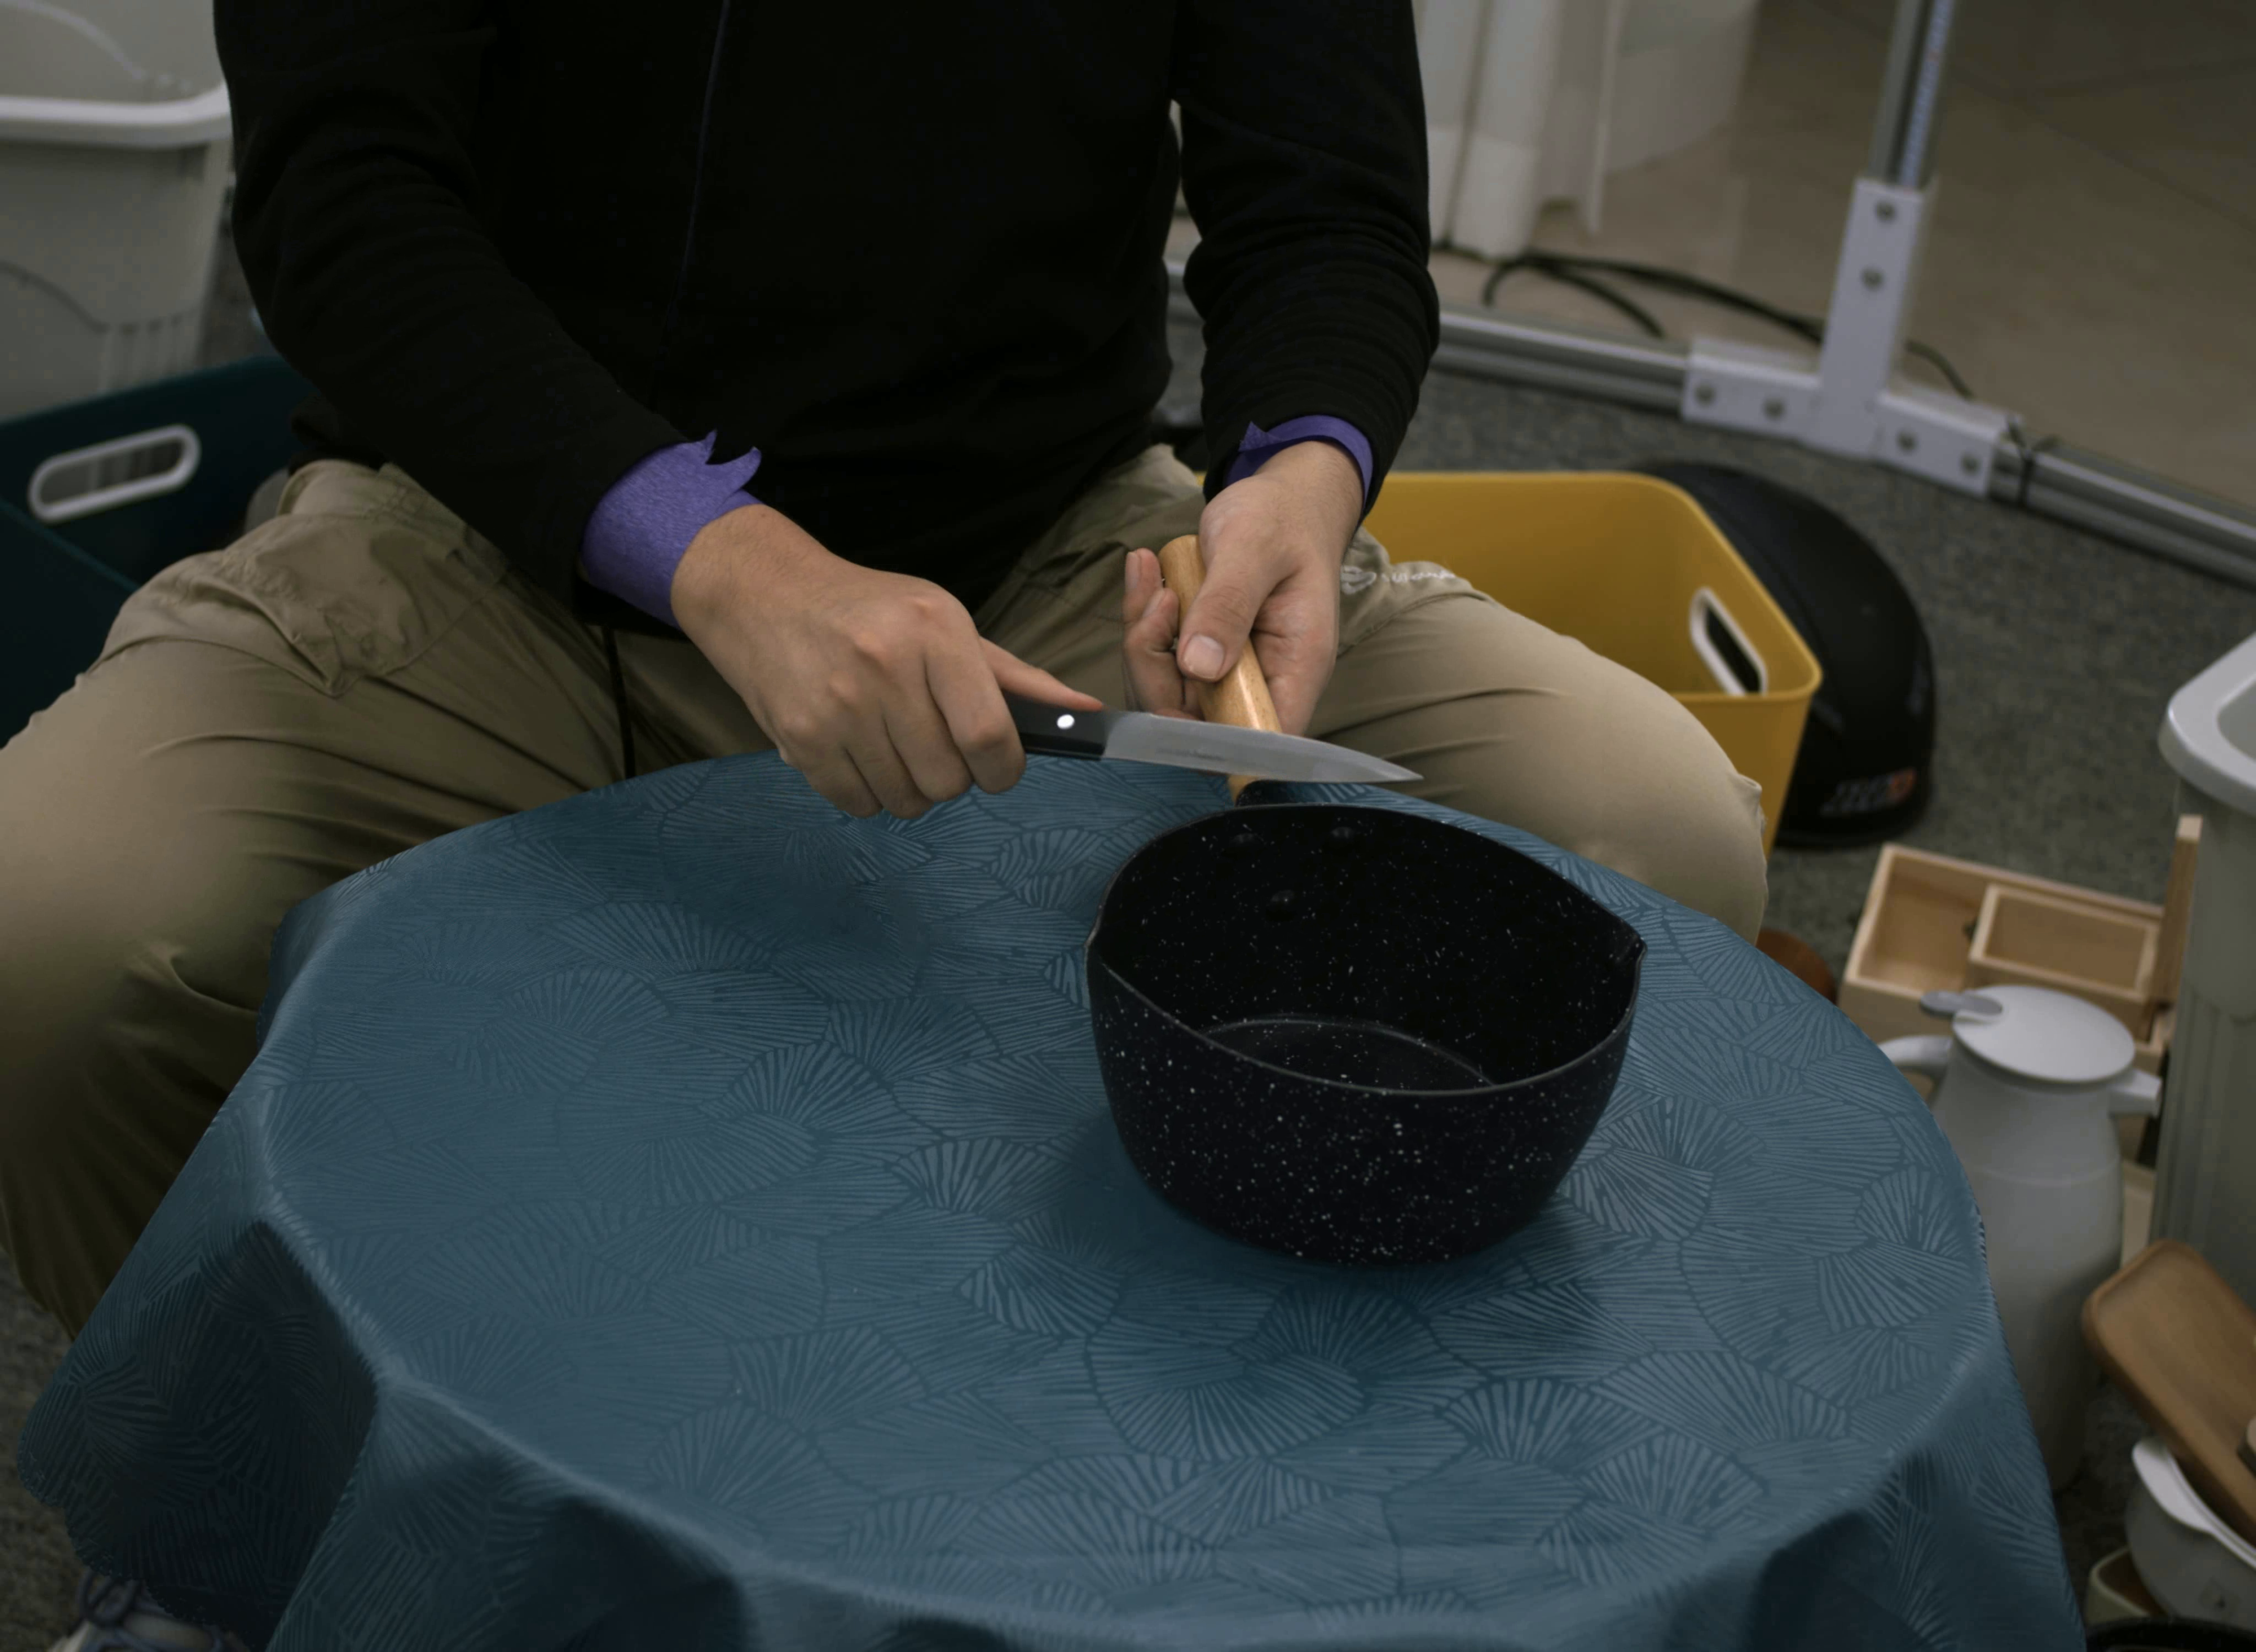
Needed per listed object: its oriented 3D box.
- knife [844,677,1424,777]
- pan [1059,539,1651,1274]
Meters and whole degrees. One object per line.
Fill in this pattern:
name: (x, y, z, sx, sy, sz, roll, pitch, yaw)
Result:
knife: (-0.002, -0.032, 1.885, 0.239, 0.016, 0.024, 7, 51, 30)
pan: (0.056, 0.026, 1.878, 0.206, 0.108, 0.346, -2, 32, -16)
